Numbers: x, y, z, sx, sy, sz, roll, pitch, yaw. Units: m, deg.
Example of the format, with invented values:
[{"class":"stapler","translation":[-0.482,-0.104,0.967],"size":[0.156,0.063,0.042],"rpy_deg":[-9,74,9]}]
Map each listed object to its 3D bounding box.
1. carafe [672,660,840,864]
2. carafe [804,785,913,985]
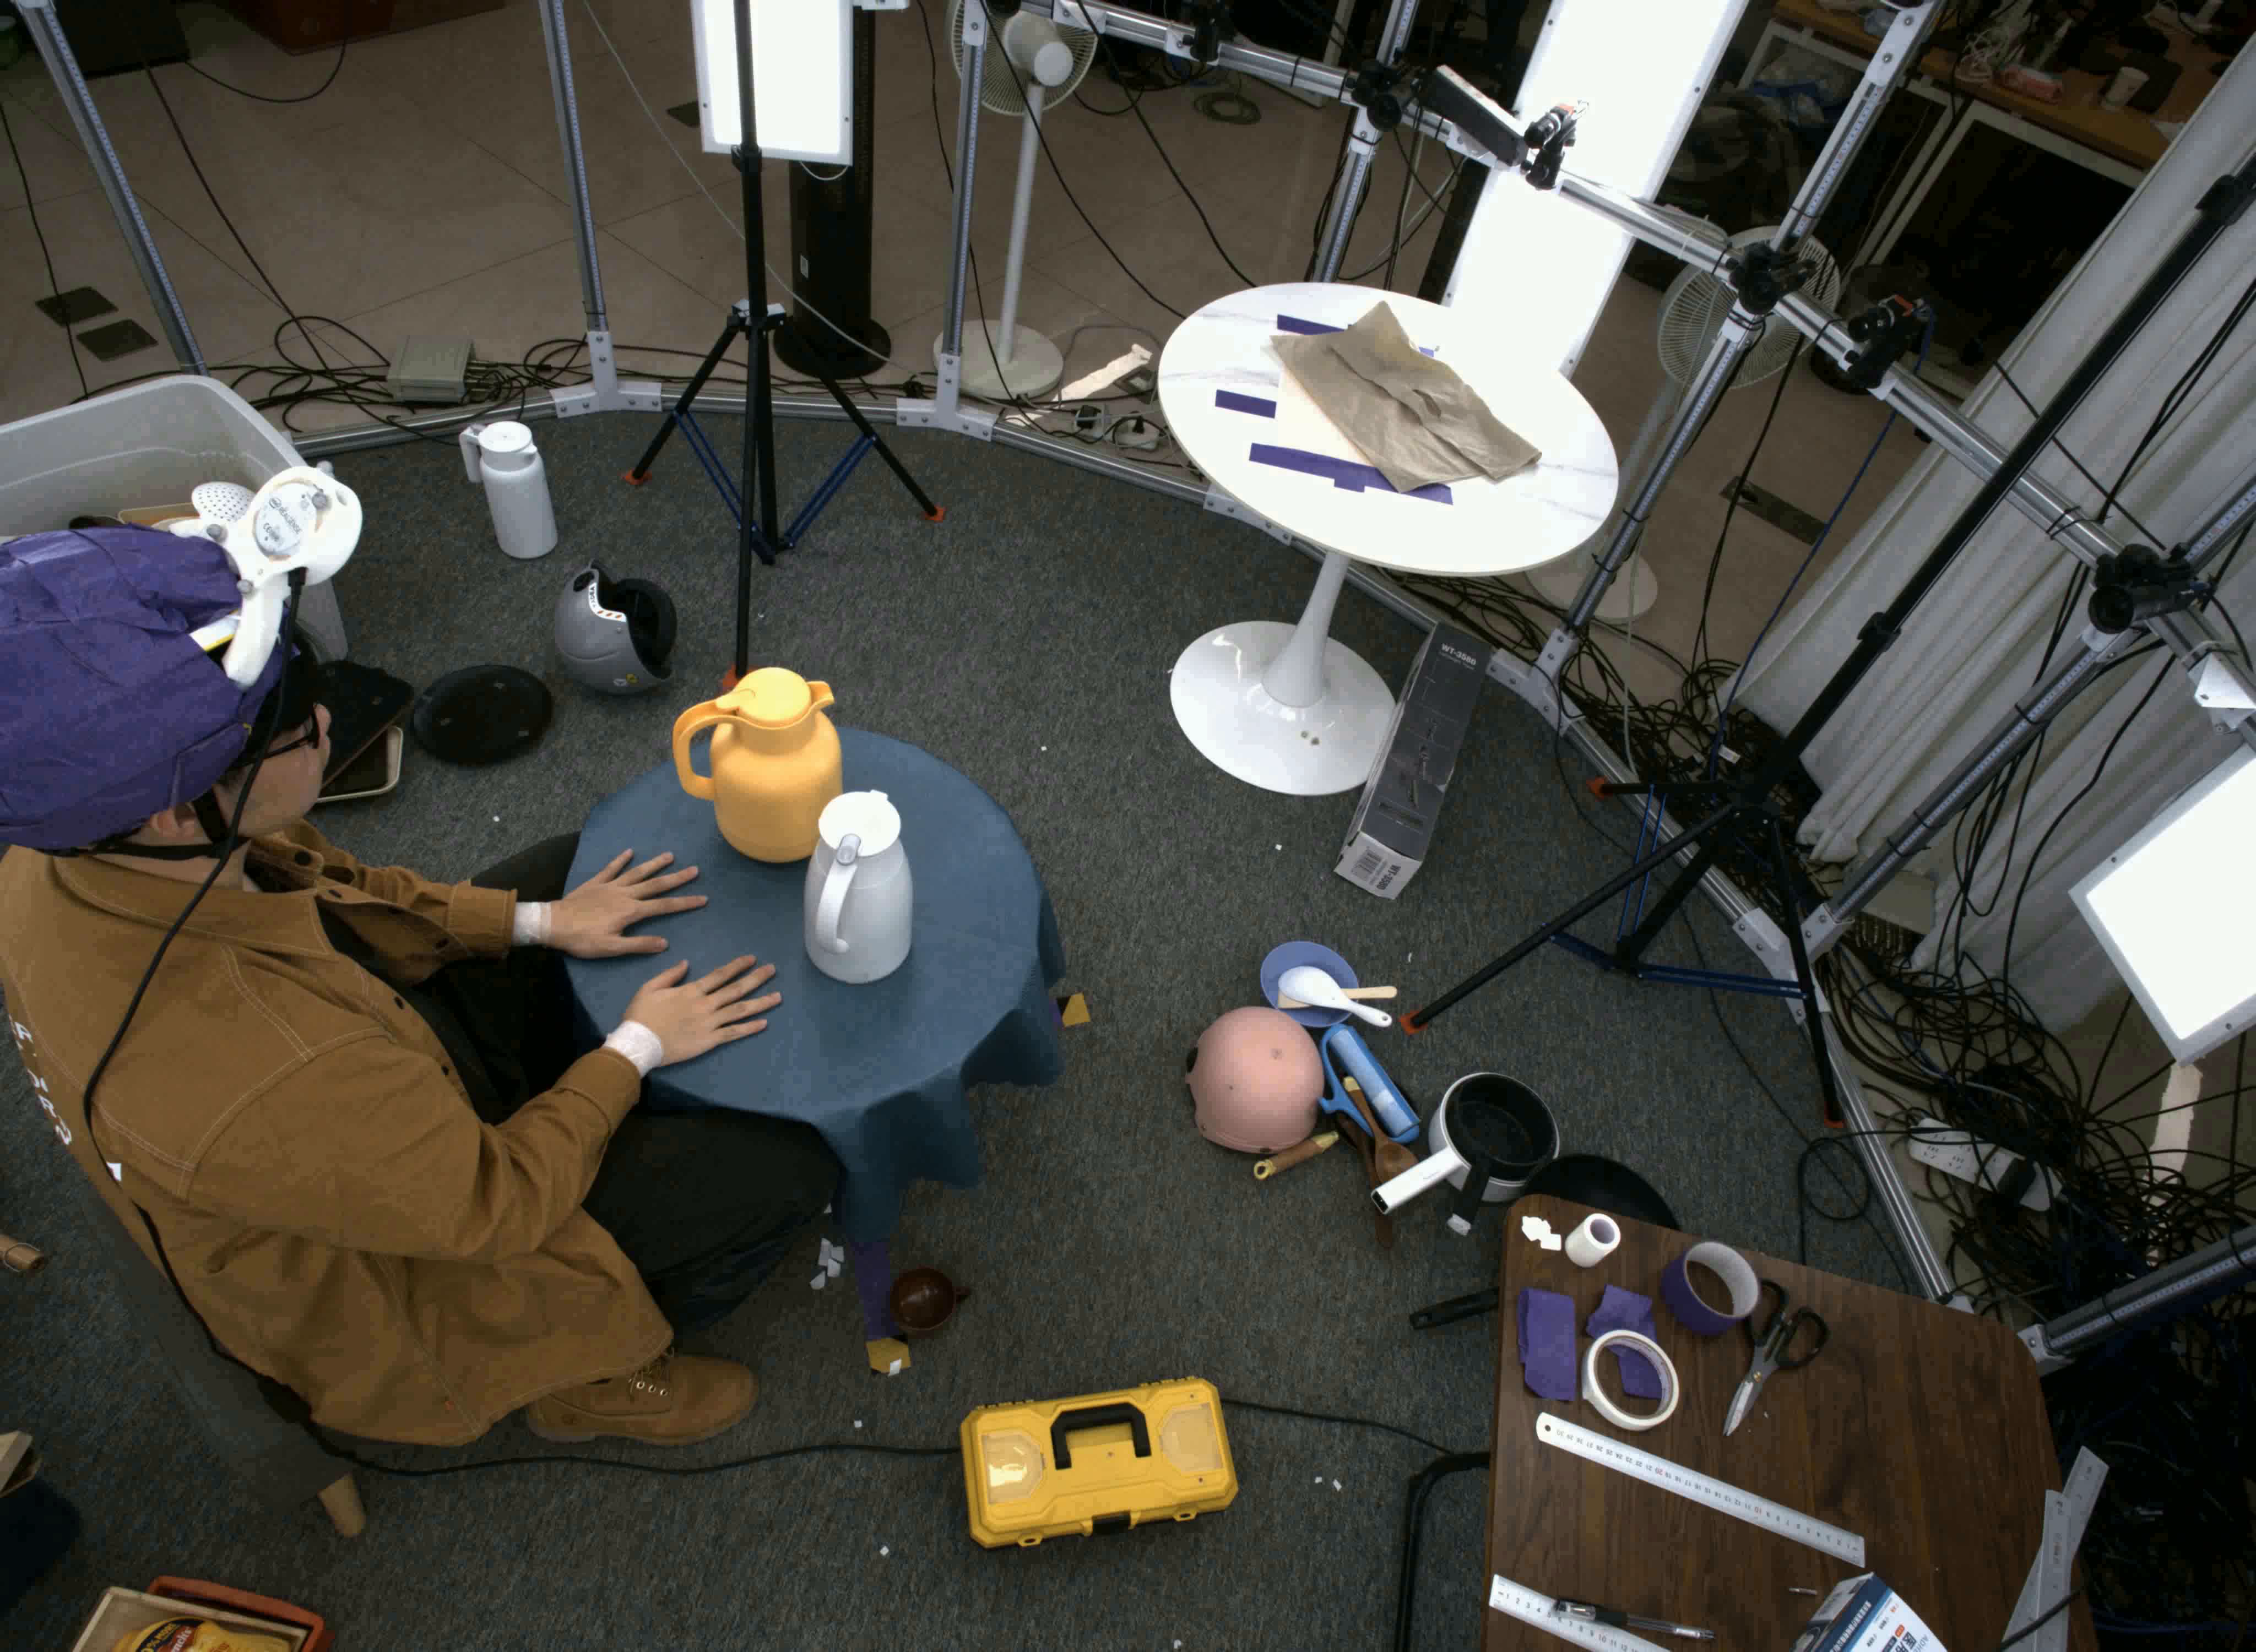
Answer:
[{"class":"carafe","translation":[-0.459,-0.083,1.606],"size":[0.203,0.266,0.159],"rpy_deg":[-10,54,-21]},{"class":"carafe","translation":[-0.323,0.078,1.528],"size":[0.131,0.254,0.166],"rpy_deg":[16,51,1]}]
